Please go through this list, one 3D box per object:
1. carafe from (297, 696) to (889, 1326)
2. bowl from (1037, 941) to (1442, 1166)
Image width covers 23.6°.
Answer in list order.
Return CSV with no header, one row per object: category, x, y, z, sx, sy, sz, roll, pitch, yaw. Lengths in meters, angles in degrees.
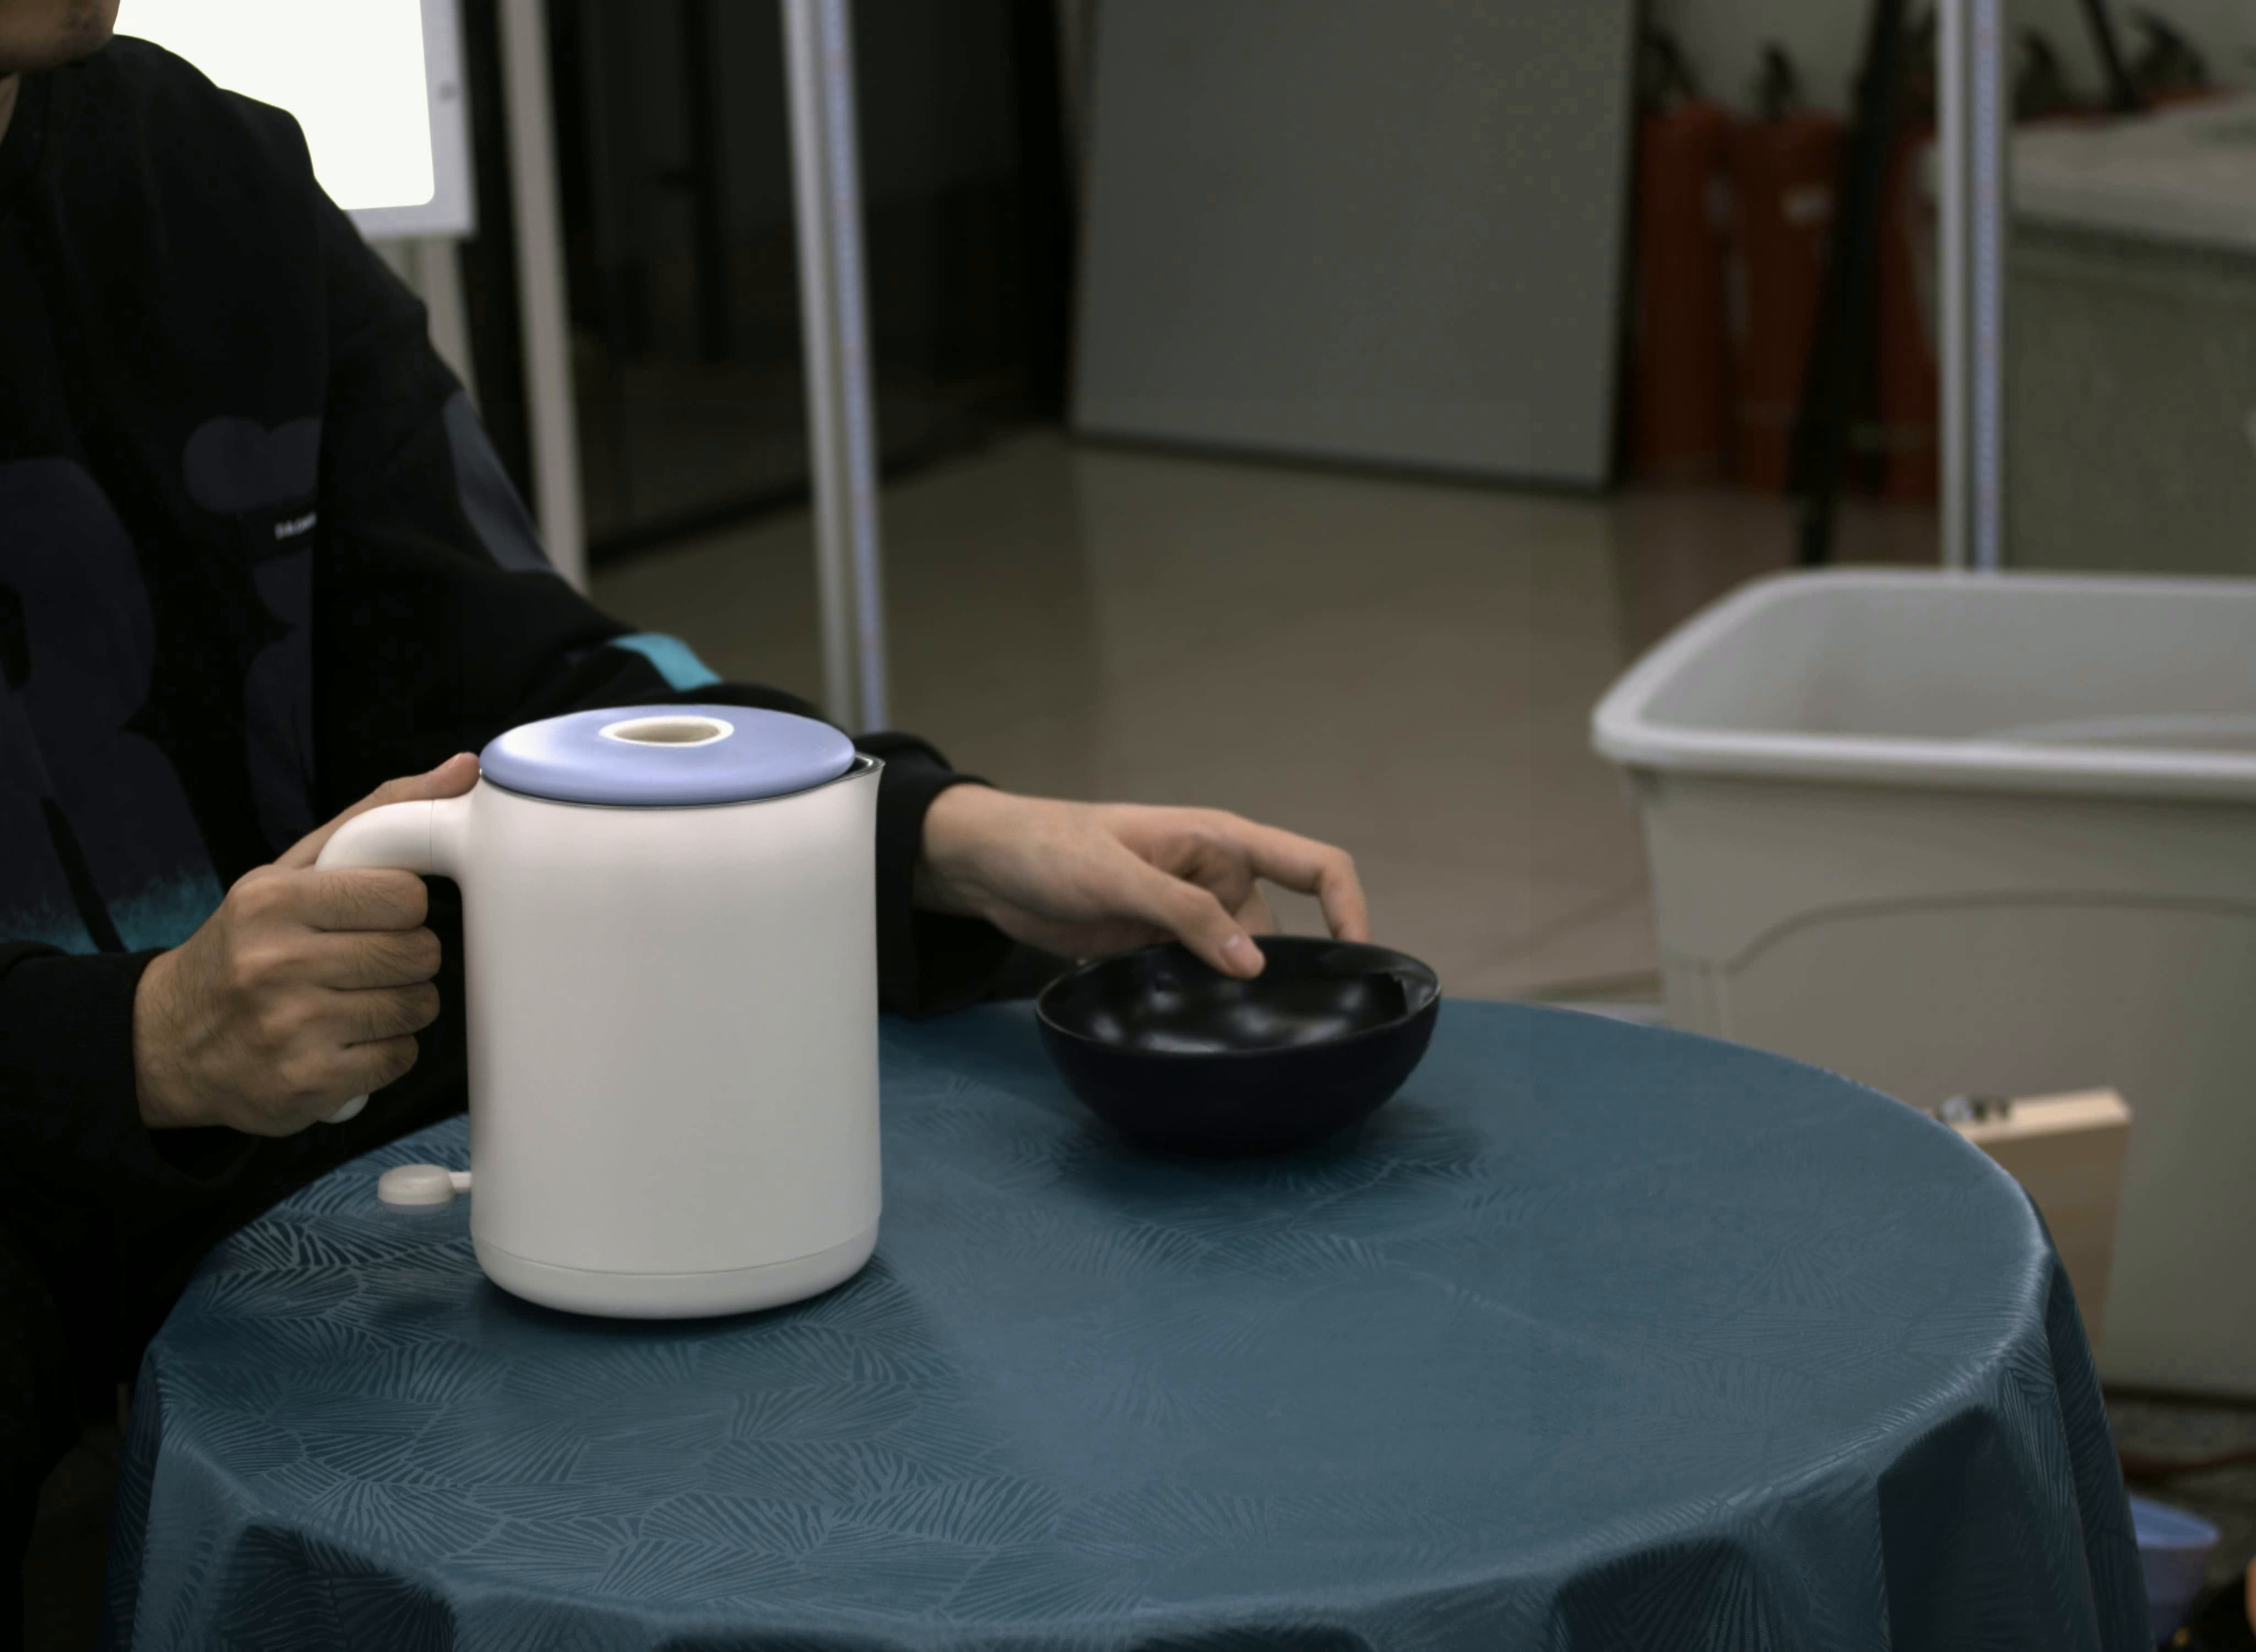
carafe,-0.167,0.058,1.700,0.188,0.184,0.132,-4,11,-1
bowl,0.040,0.081,1.823,0.138,0.050,0.140,-6,13,0
